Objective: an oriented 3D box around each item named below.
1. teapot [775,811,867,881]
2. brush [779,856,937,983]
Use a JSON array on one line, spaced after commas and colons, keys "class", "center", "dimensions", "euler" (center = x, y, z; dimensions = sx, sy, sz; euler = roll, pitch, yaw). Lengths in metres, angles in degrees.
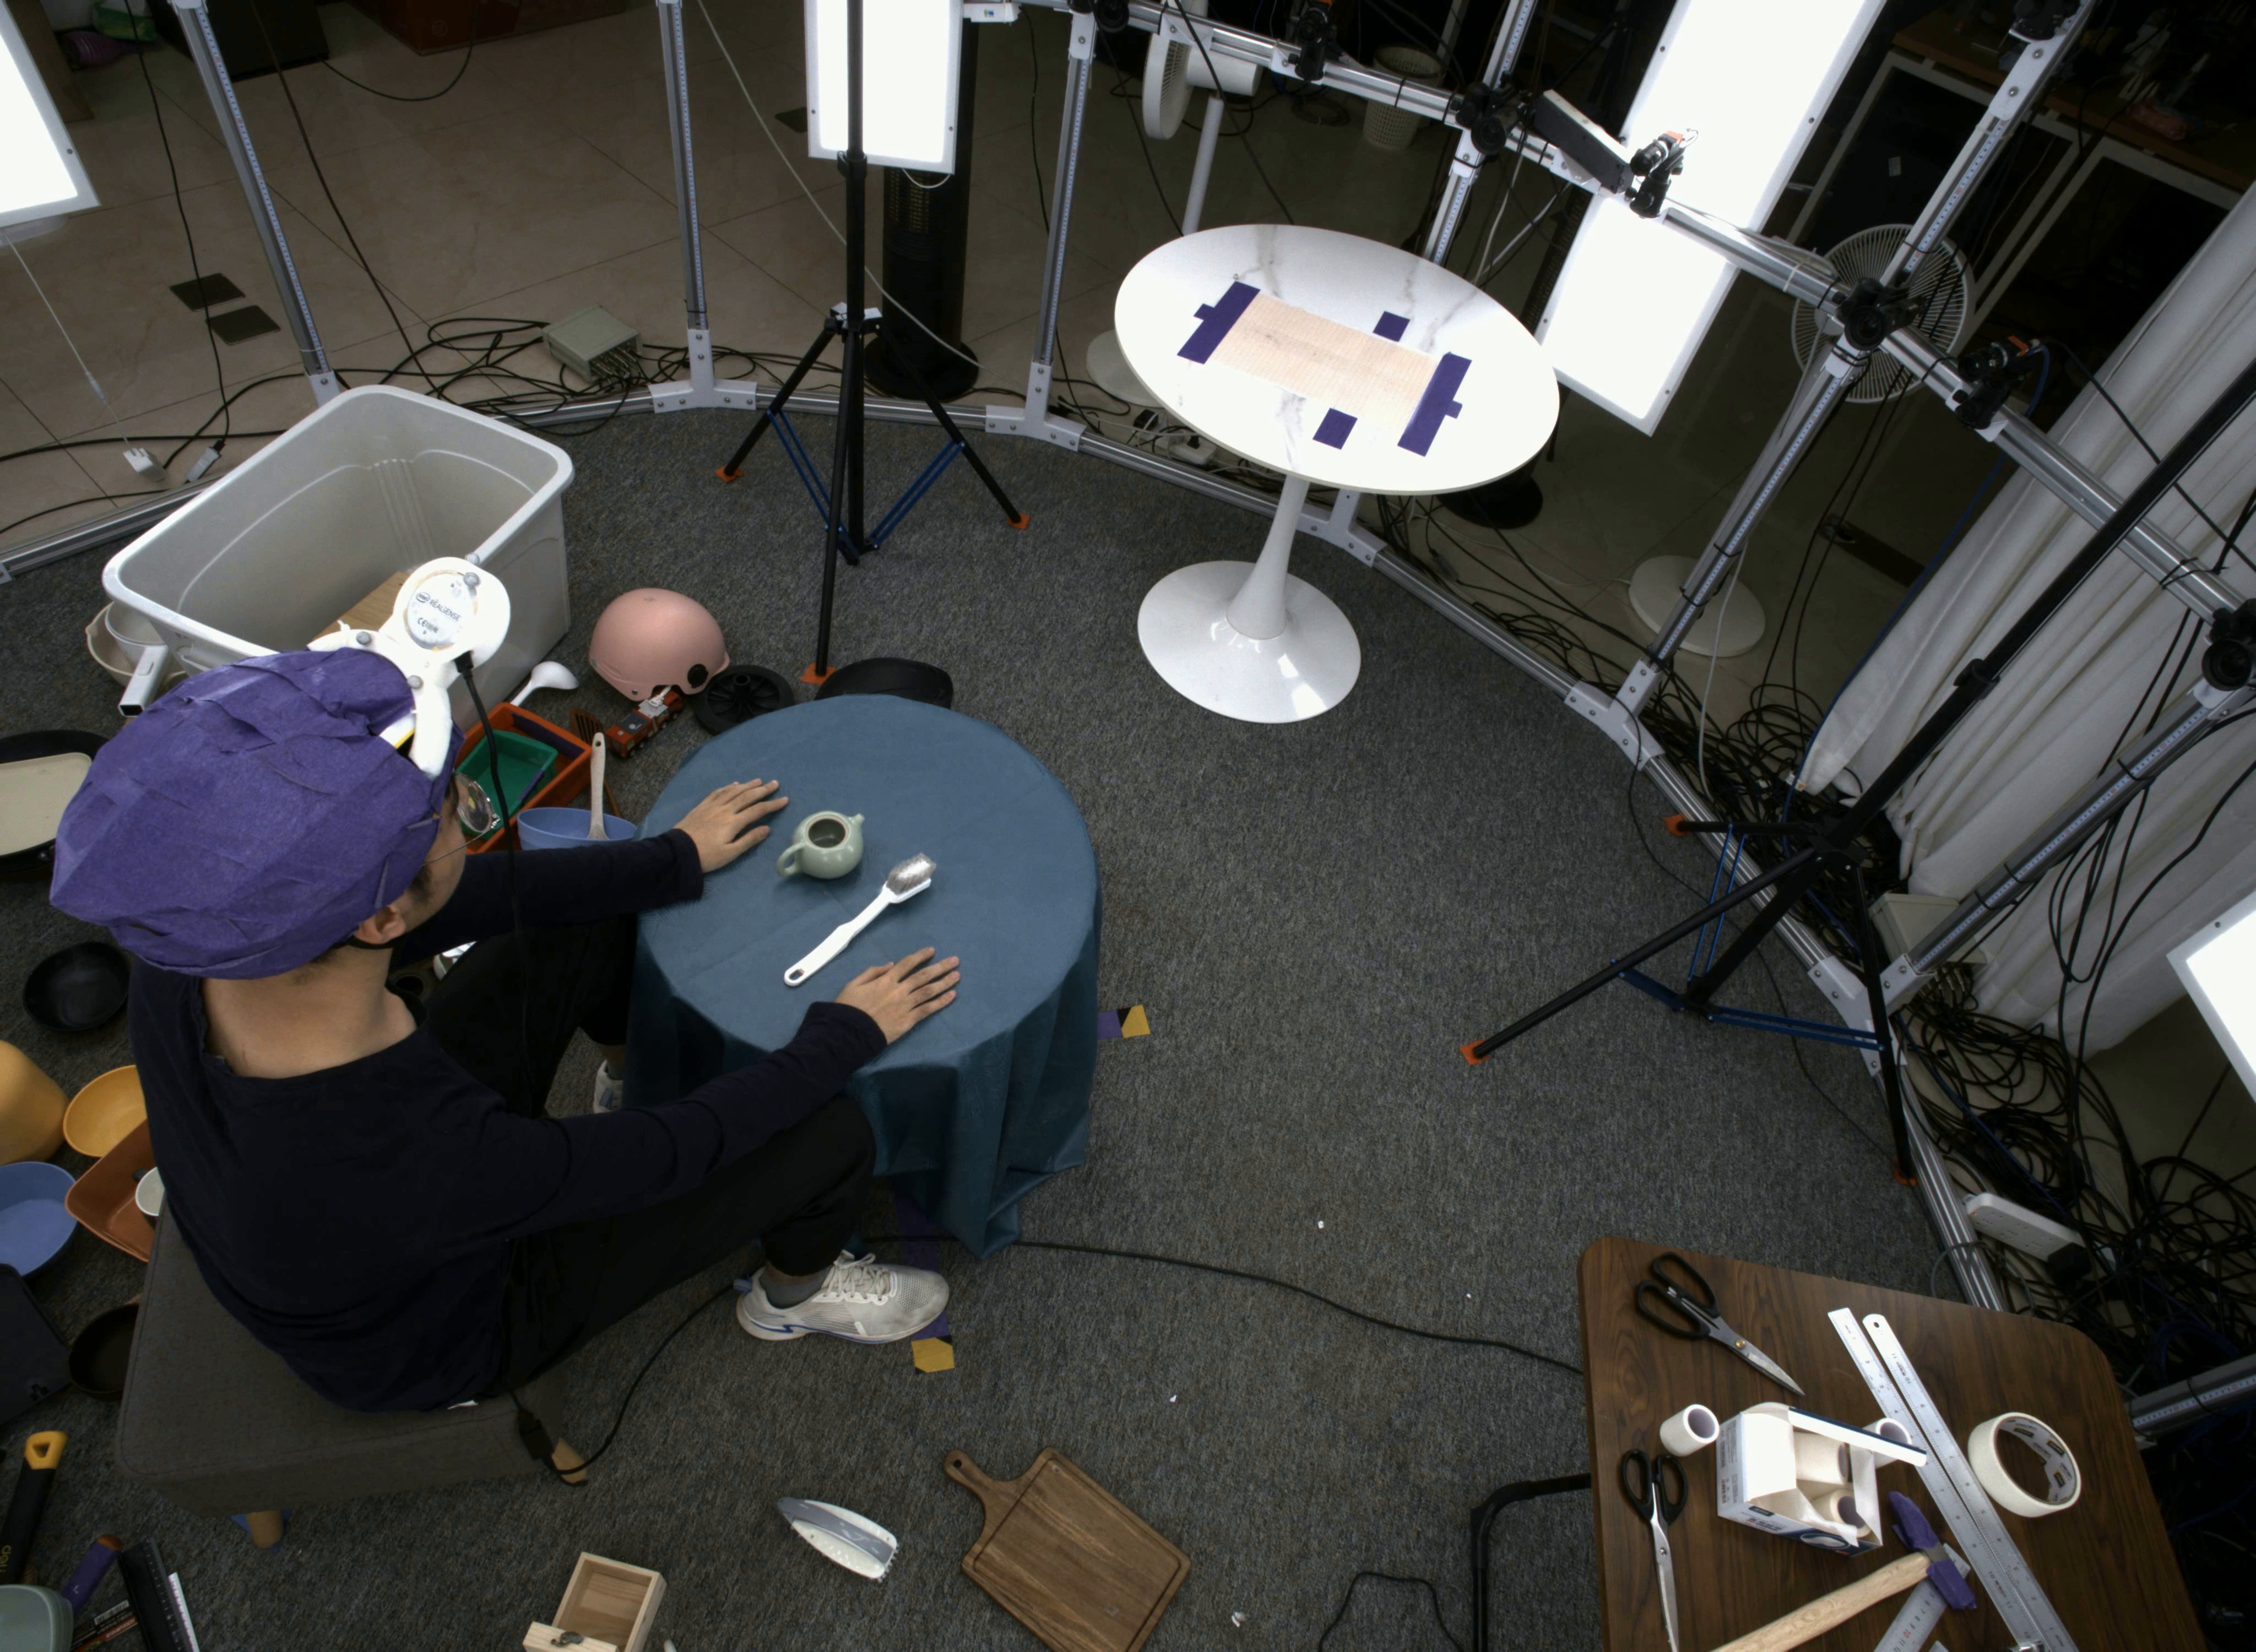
[{"class": "teapot", "center": [-0.396, 0.029, 1.675], "dimensions": [0.129, 0.062, 0.090], "euler": [-24, 67, -27]}, {"class": "brush", "center": [-0.338, 0.112, 1.633], "dimensions": [0.034, 0.051, 0.244], "euler": [42, 55, 15]}]
